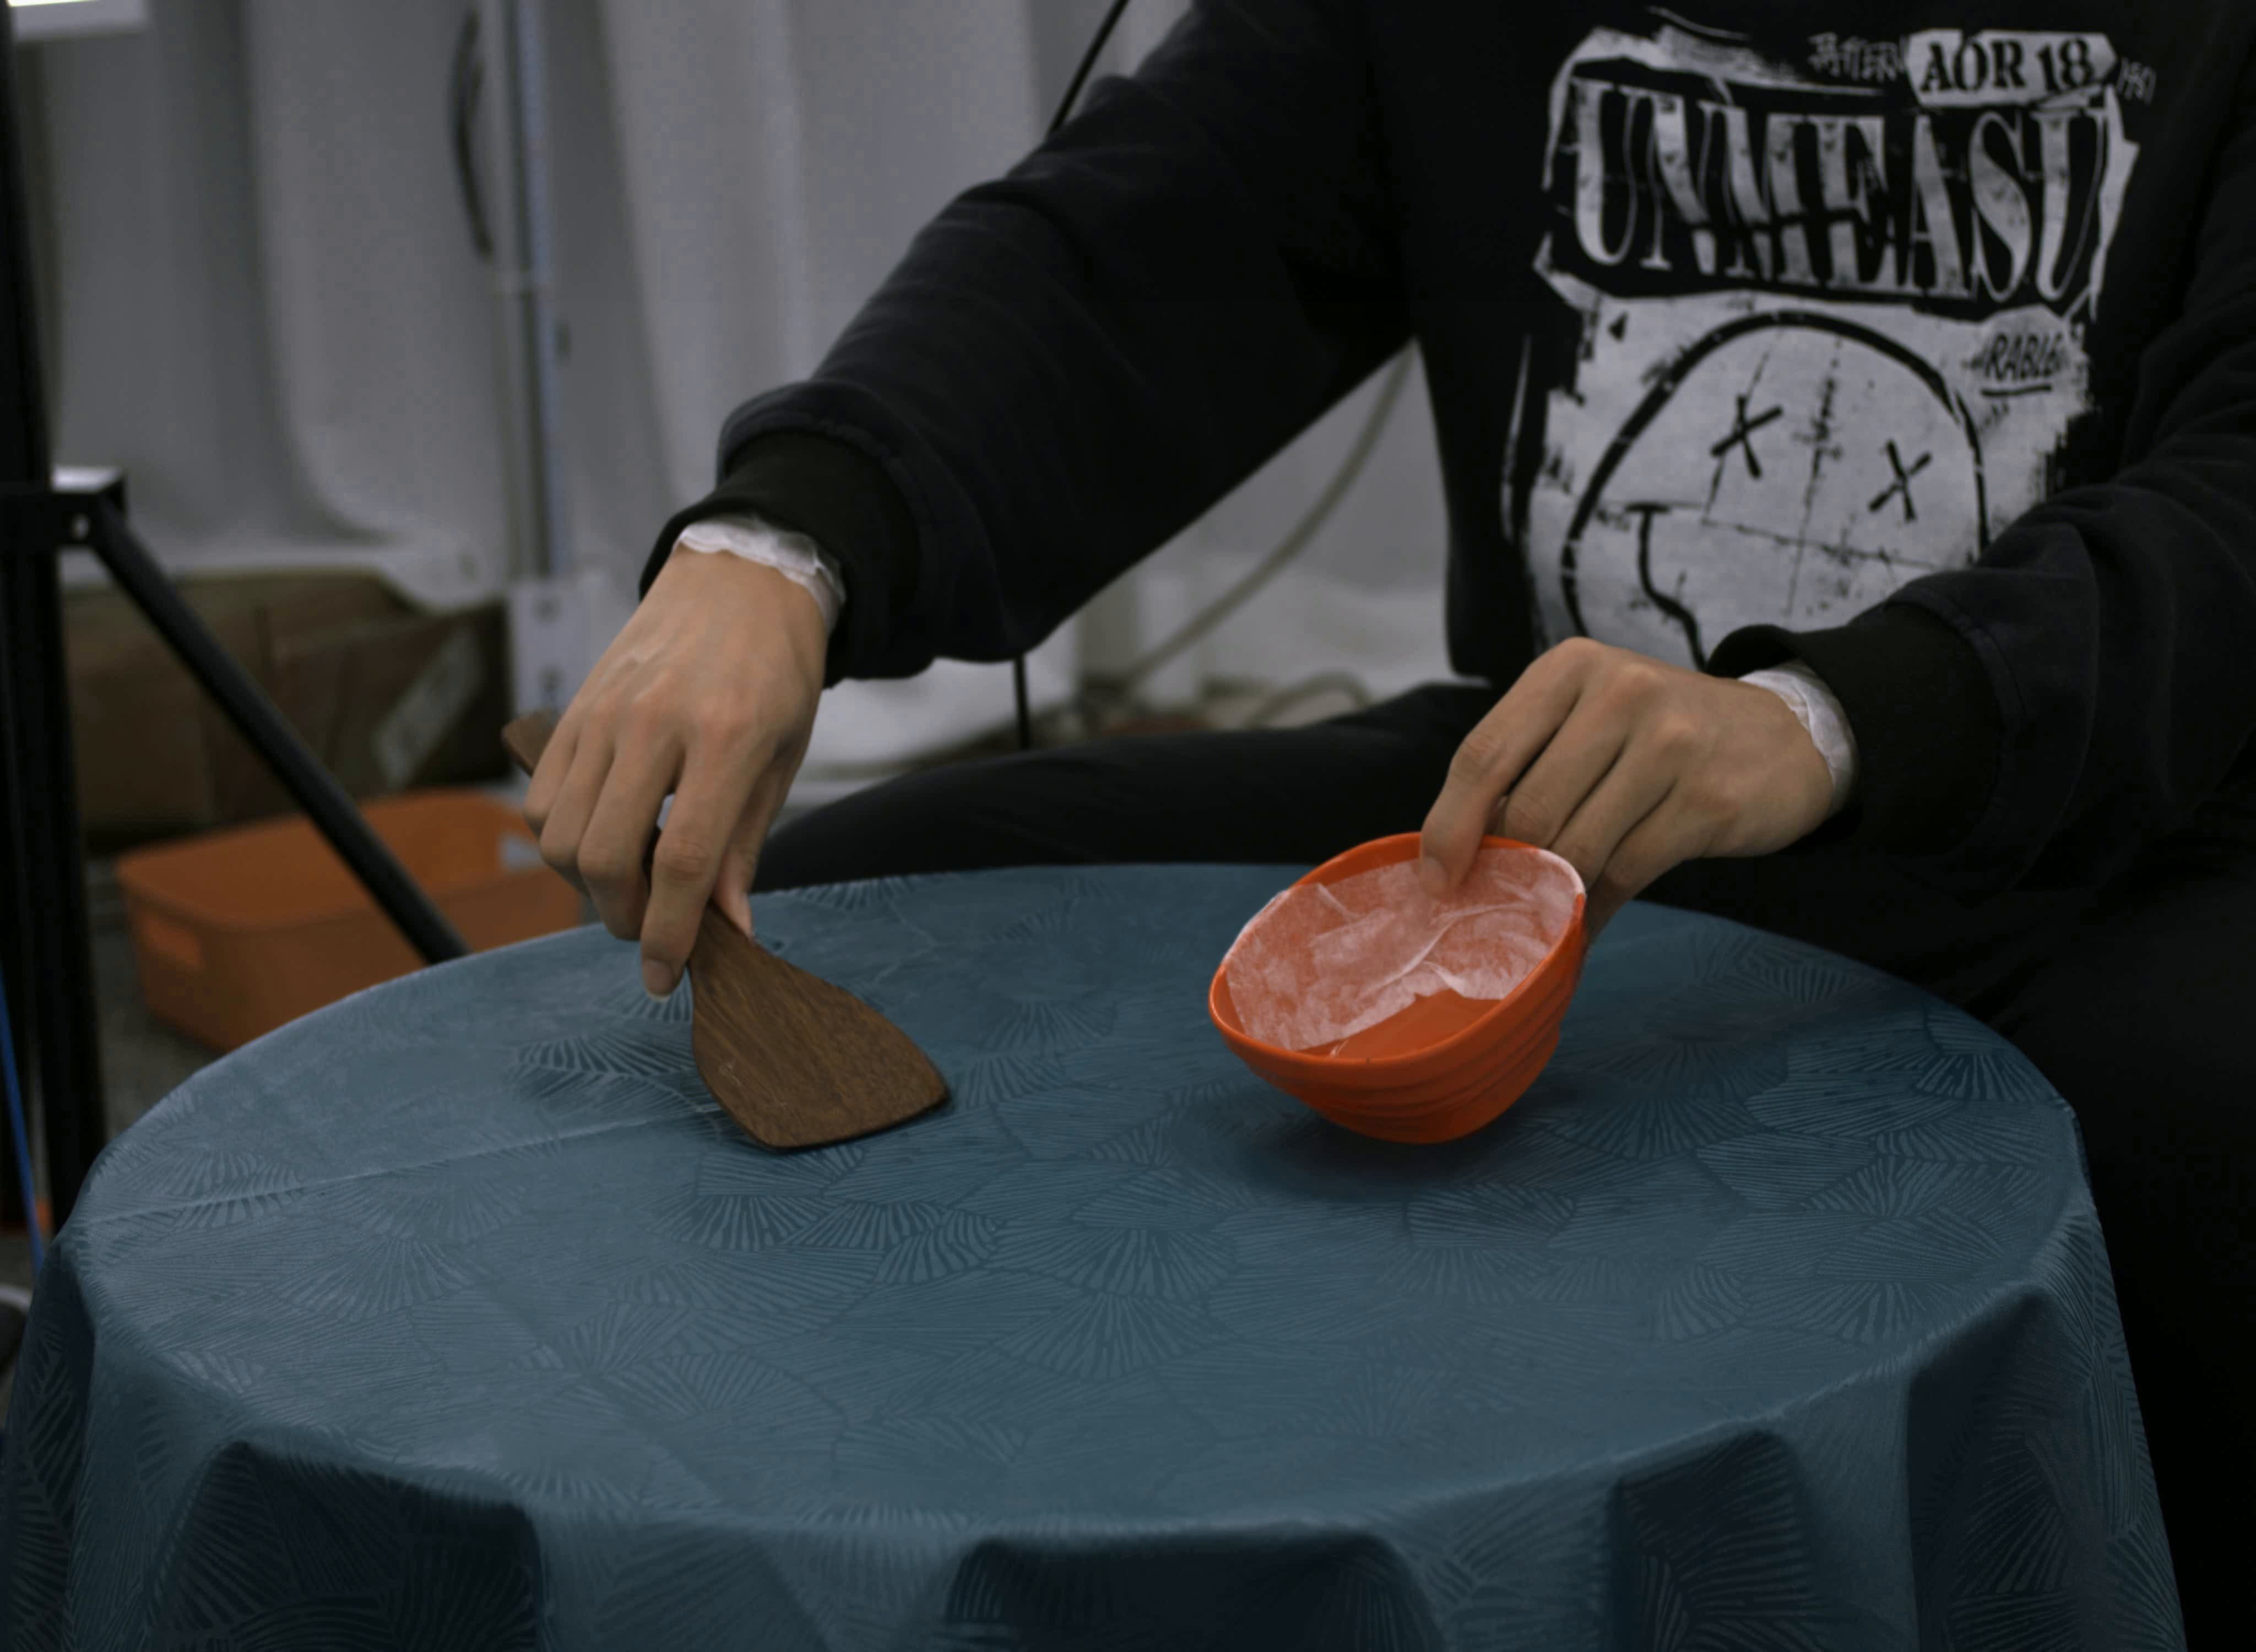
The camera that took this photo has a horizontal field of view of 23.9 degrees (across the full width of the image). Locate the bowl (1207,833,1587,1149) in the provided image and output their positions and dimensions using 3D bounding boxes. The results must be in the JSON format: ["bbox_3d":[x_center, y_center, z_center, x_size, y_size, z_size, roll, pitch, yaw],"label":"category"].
[{"bbox_3d":[0.087,0.056,1.599,0.119,0.051,0.120,-17,32,10],"label":"bowl"}]

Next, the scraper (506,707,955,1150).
[{"bbox_3d":[-0.136,0.030,1.683,0.074,0.011,0.216,-15,47,-32],"label":"scraper"}]
